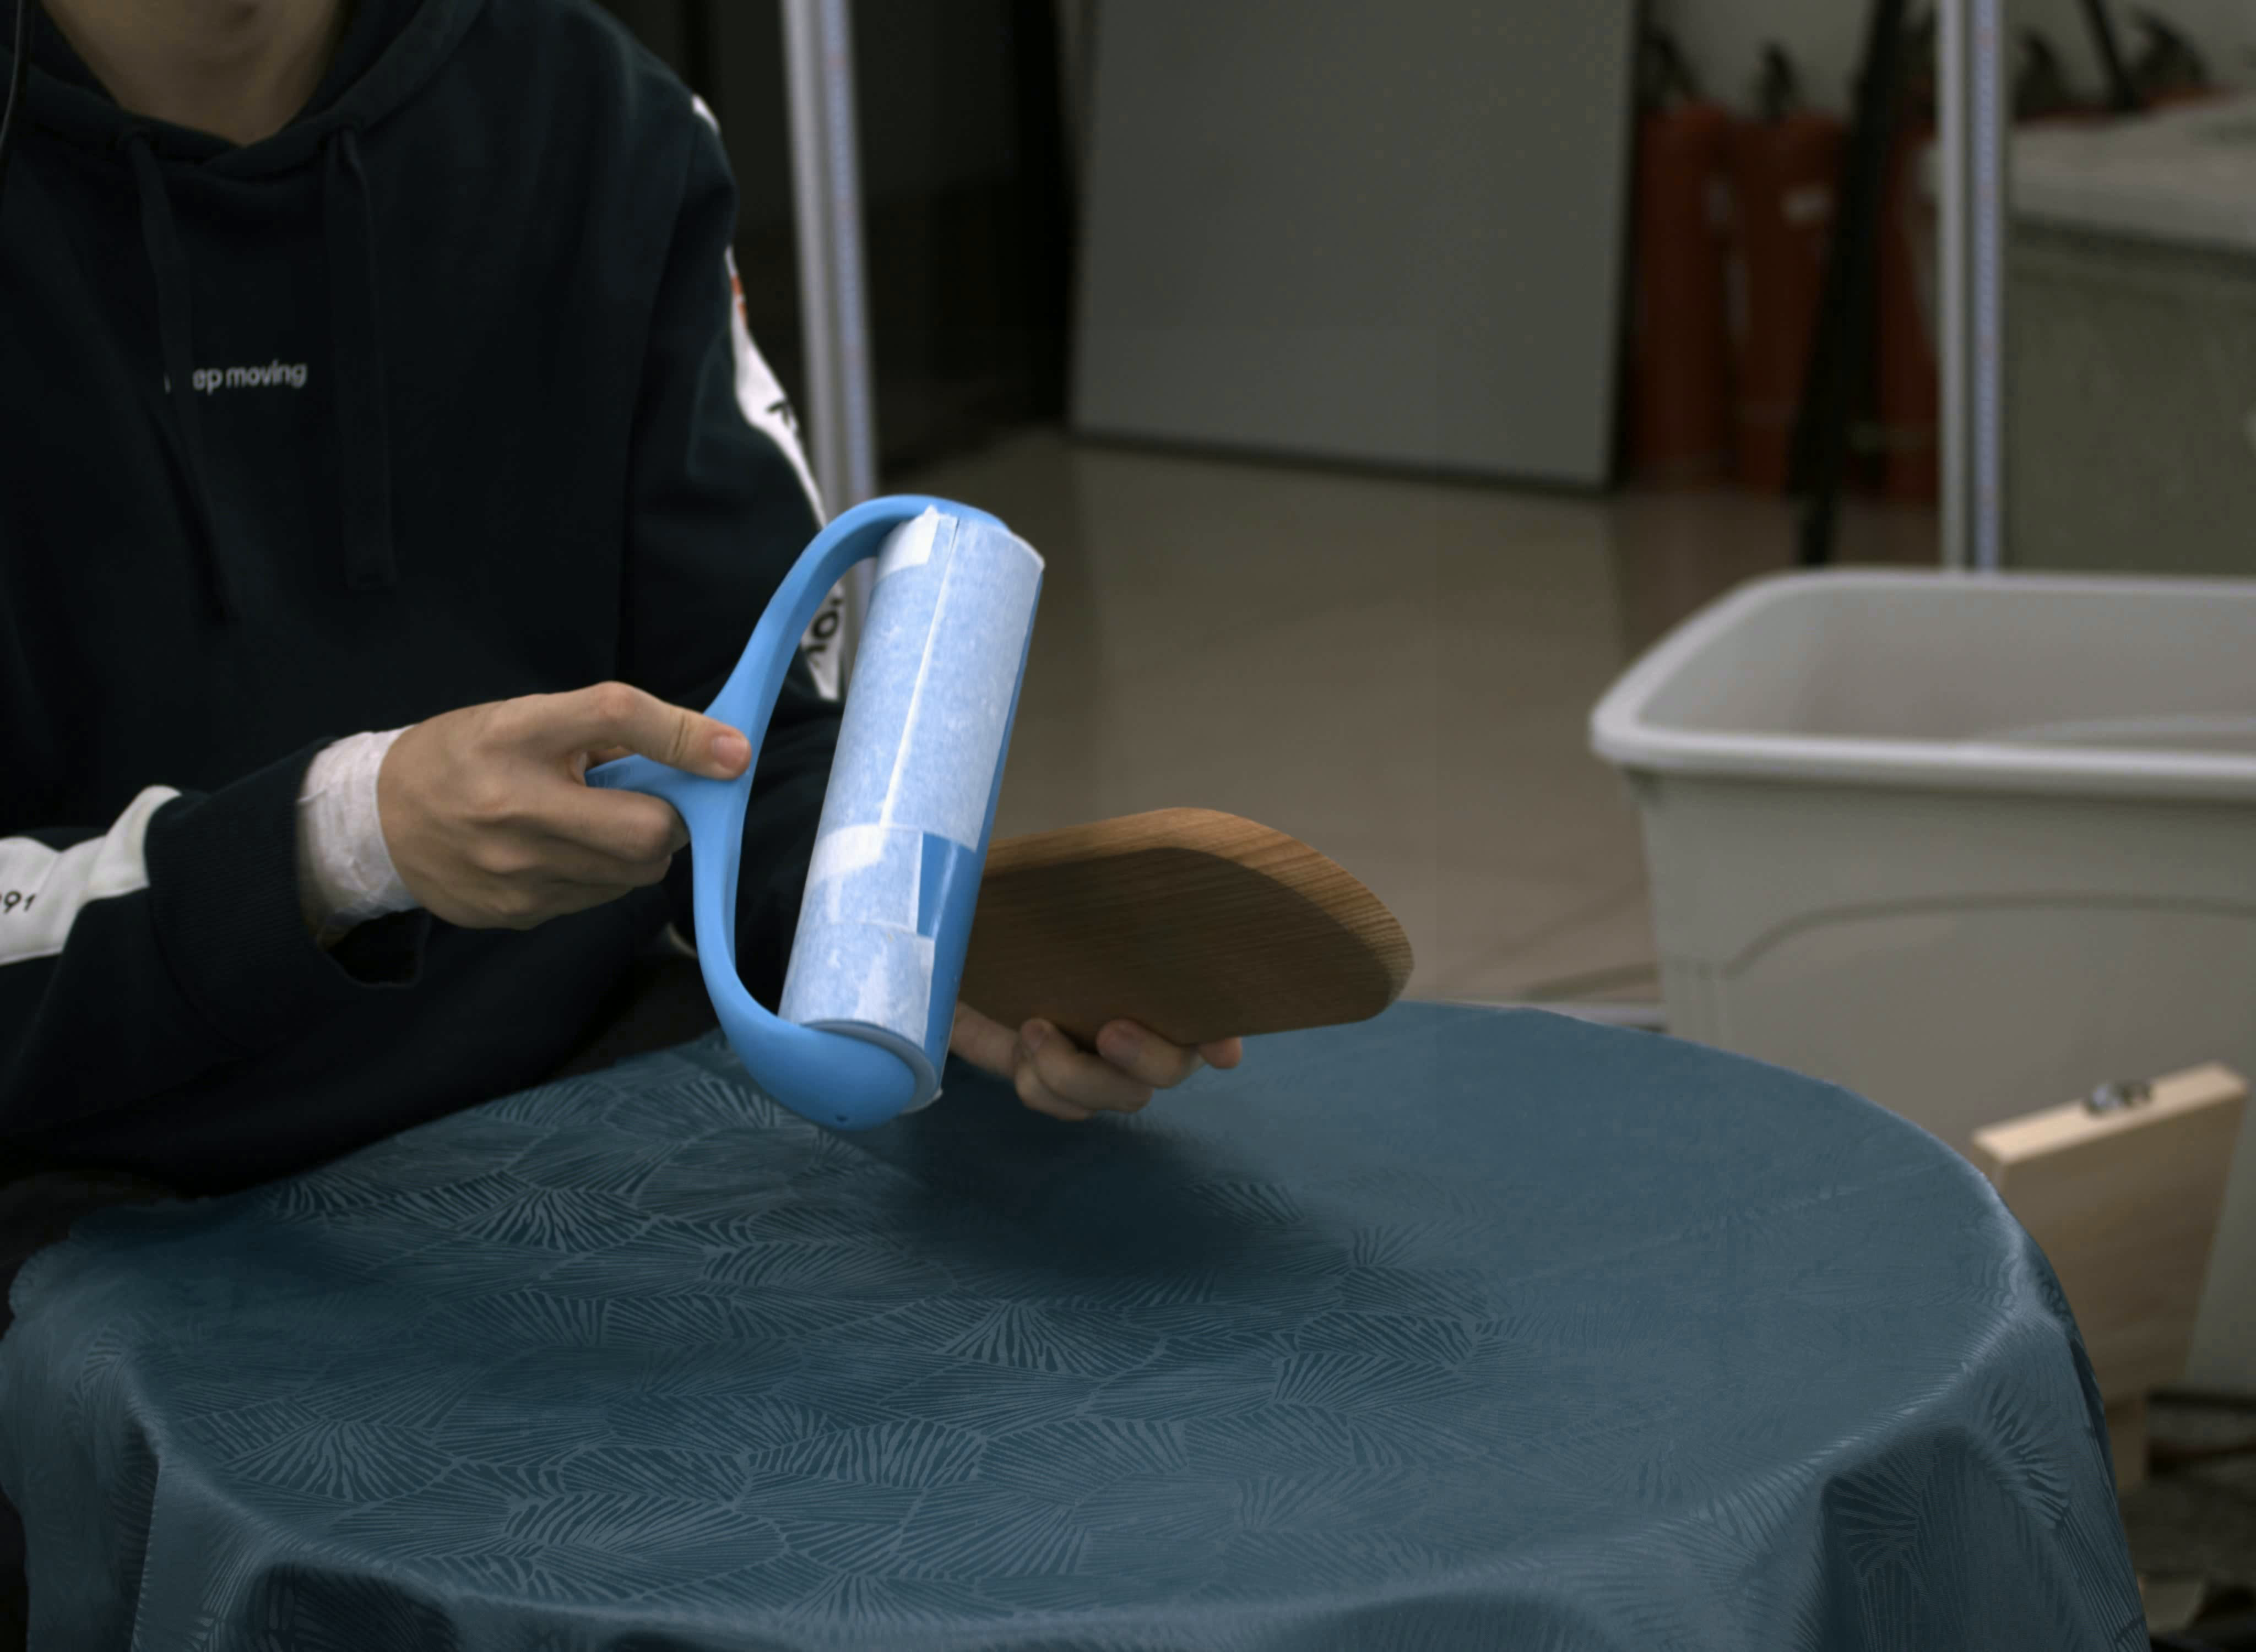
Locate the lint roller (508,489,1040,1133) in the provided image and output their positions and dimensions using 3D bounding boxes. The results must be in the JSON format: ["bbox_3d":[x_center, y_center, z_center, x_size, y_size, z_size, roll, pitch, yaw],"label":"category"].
[{"bbox_3d":[-0.124,-0.002,1.705,0.180,0.067,0.231,-5,55,18],"label":"lint roller"}]

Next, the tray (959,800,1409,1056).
[{"bbox_3d":[0.002,0.036,1.750,0.233,0.100,0.020,-12,41,53],"label":"tray"}]
